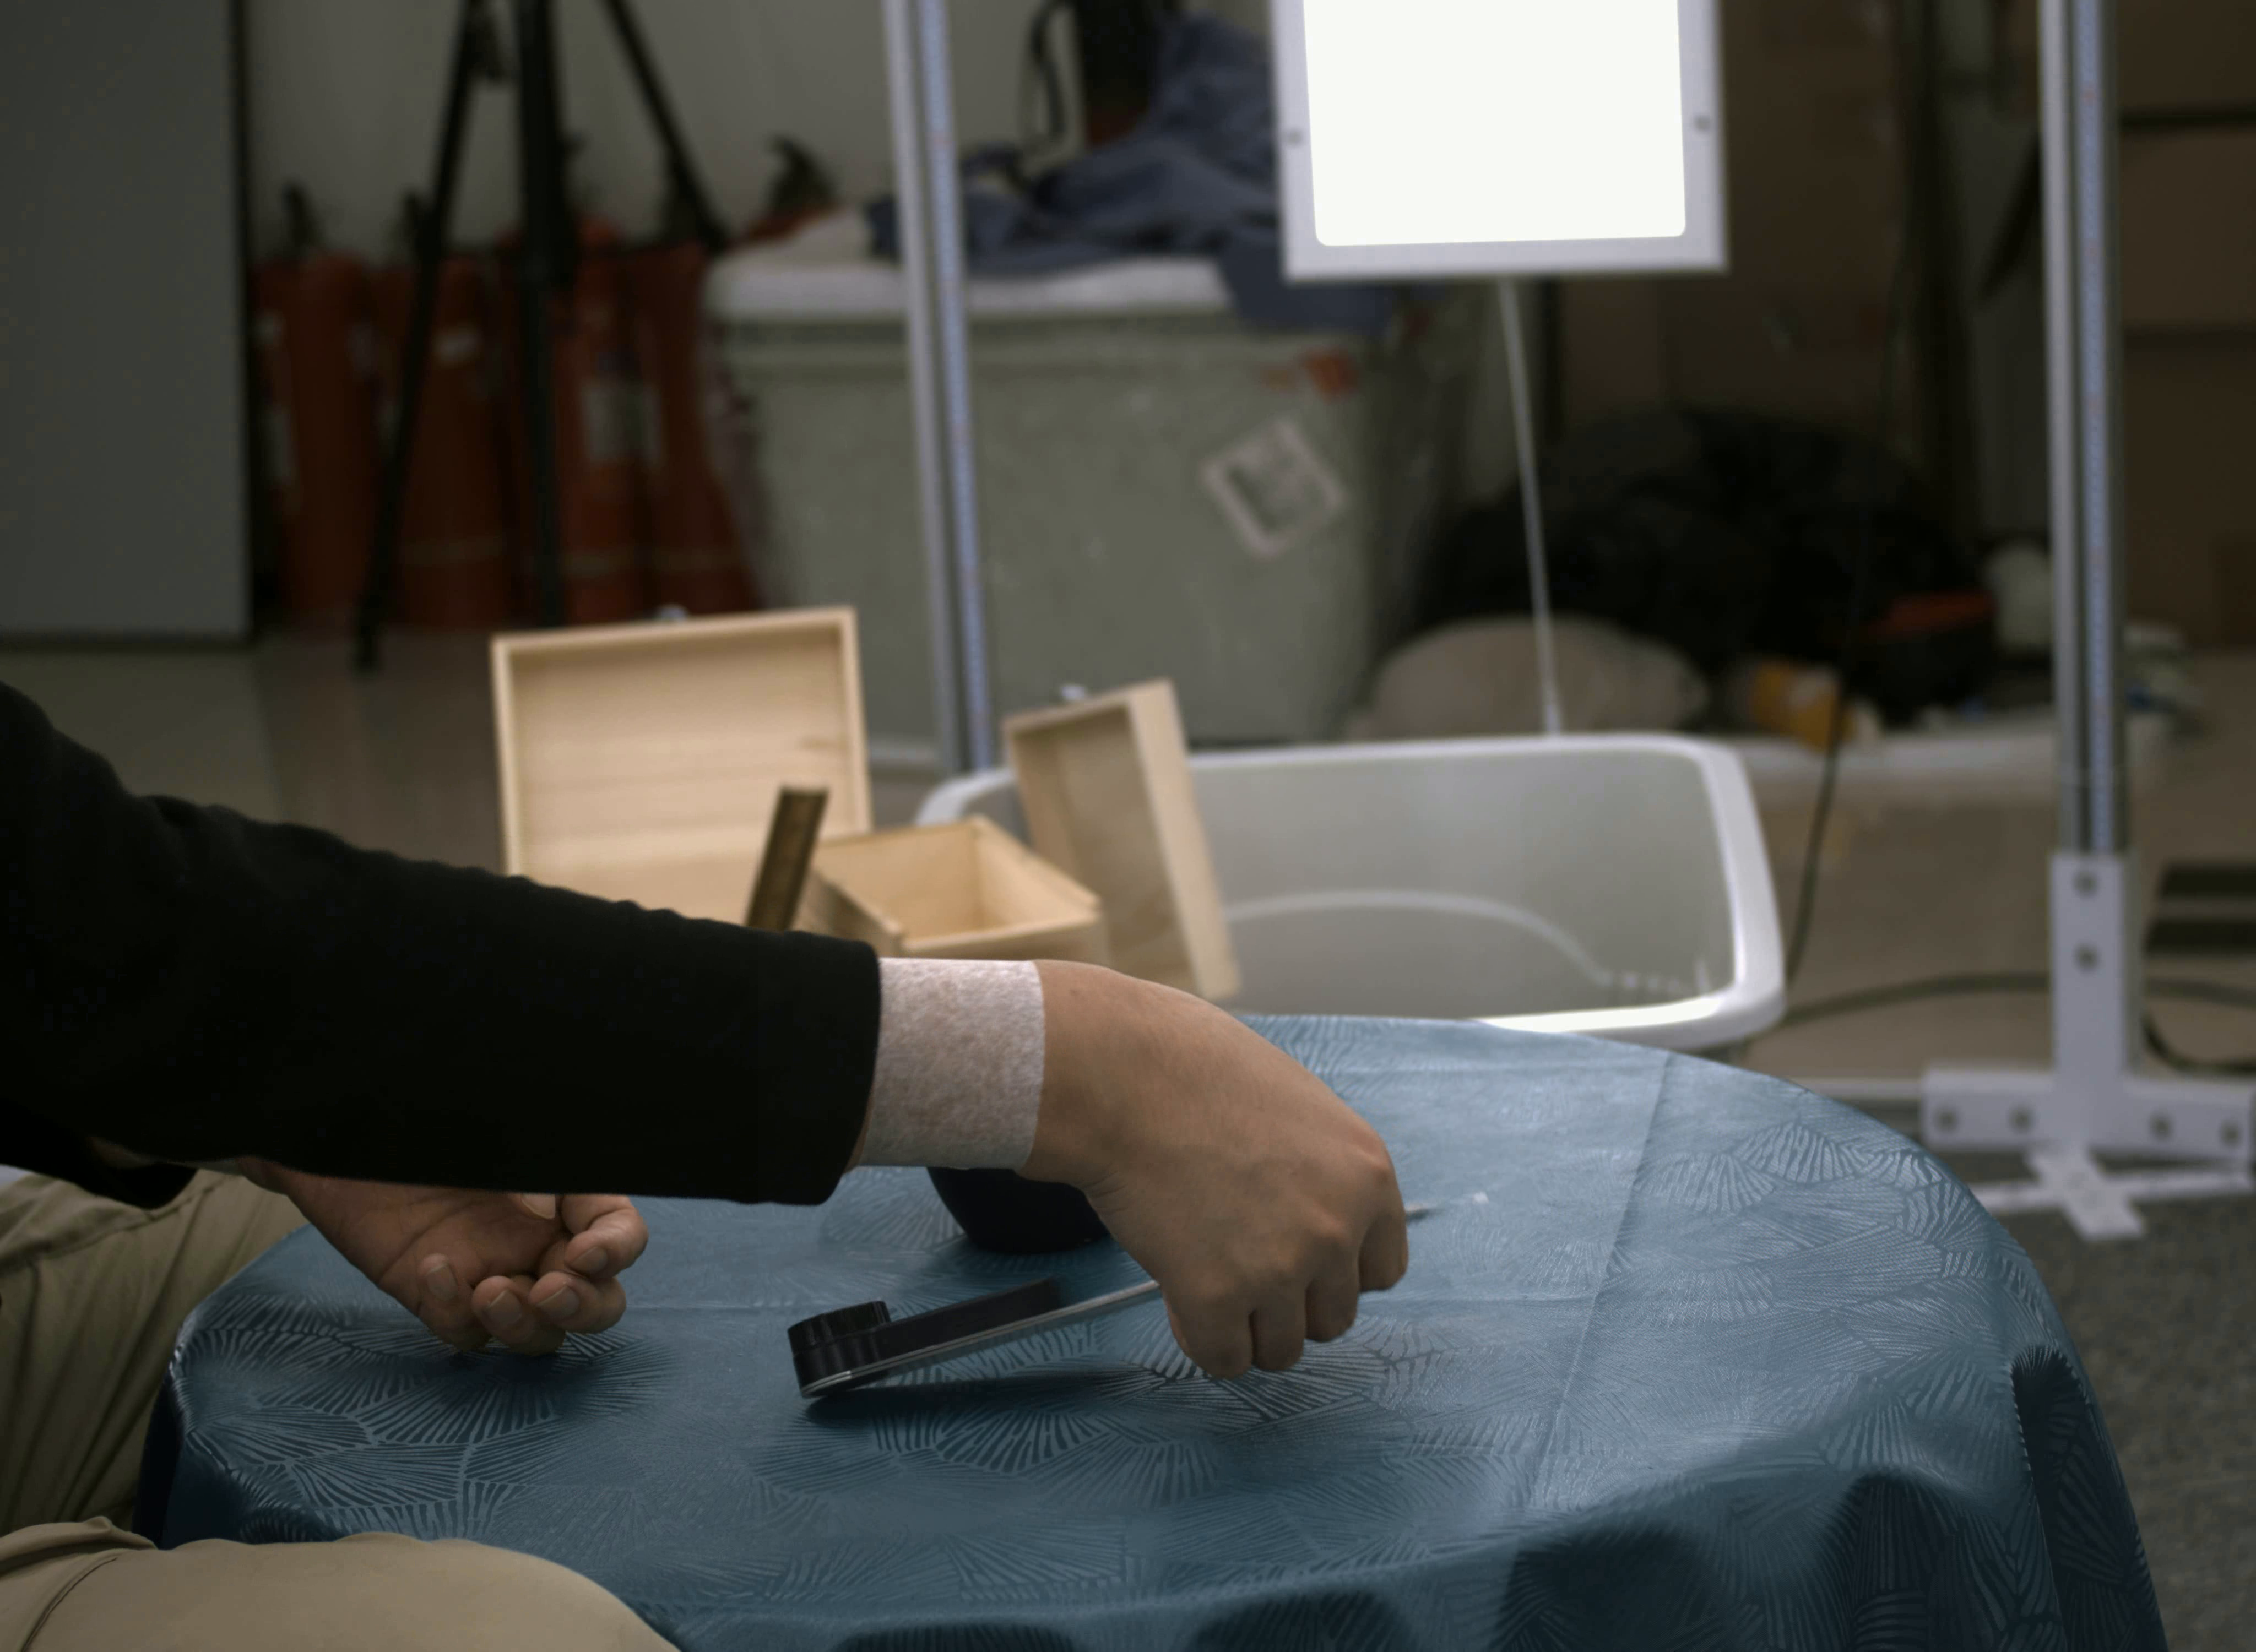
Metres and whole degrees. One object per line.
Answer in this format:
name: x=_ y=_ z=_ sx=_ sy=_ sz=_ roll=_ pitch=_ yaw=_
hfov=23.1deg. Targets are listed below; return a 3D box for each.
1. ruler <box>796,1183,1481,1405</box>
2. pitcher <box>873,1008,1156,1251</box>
ruler: x=0.003 y=0.137 z=1.711 sx=0.217 sy=0.024 sz=0.038 roll=-17 pitch=-3 yaw=0
pitcher: x=-0.036 y=0.102 z=1.858 sx=0.096 sy=0.071 sz=0.083 roll=-2 pitch=15 yaw=11
